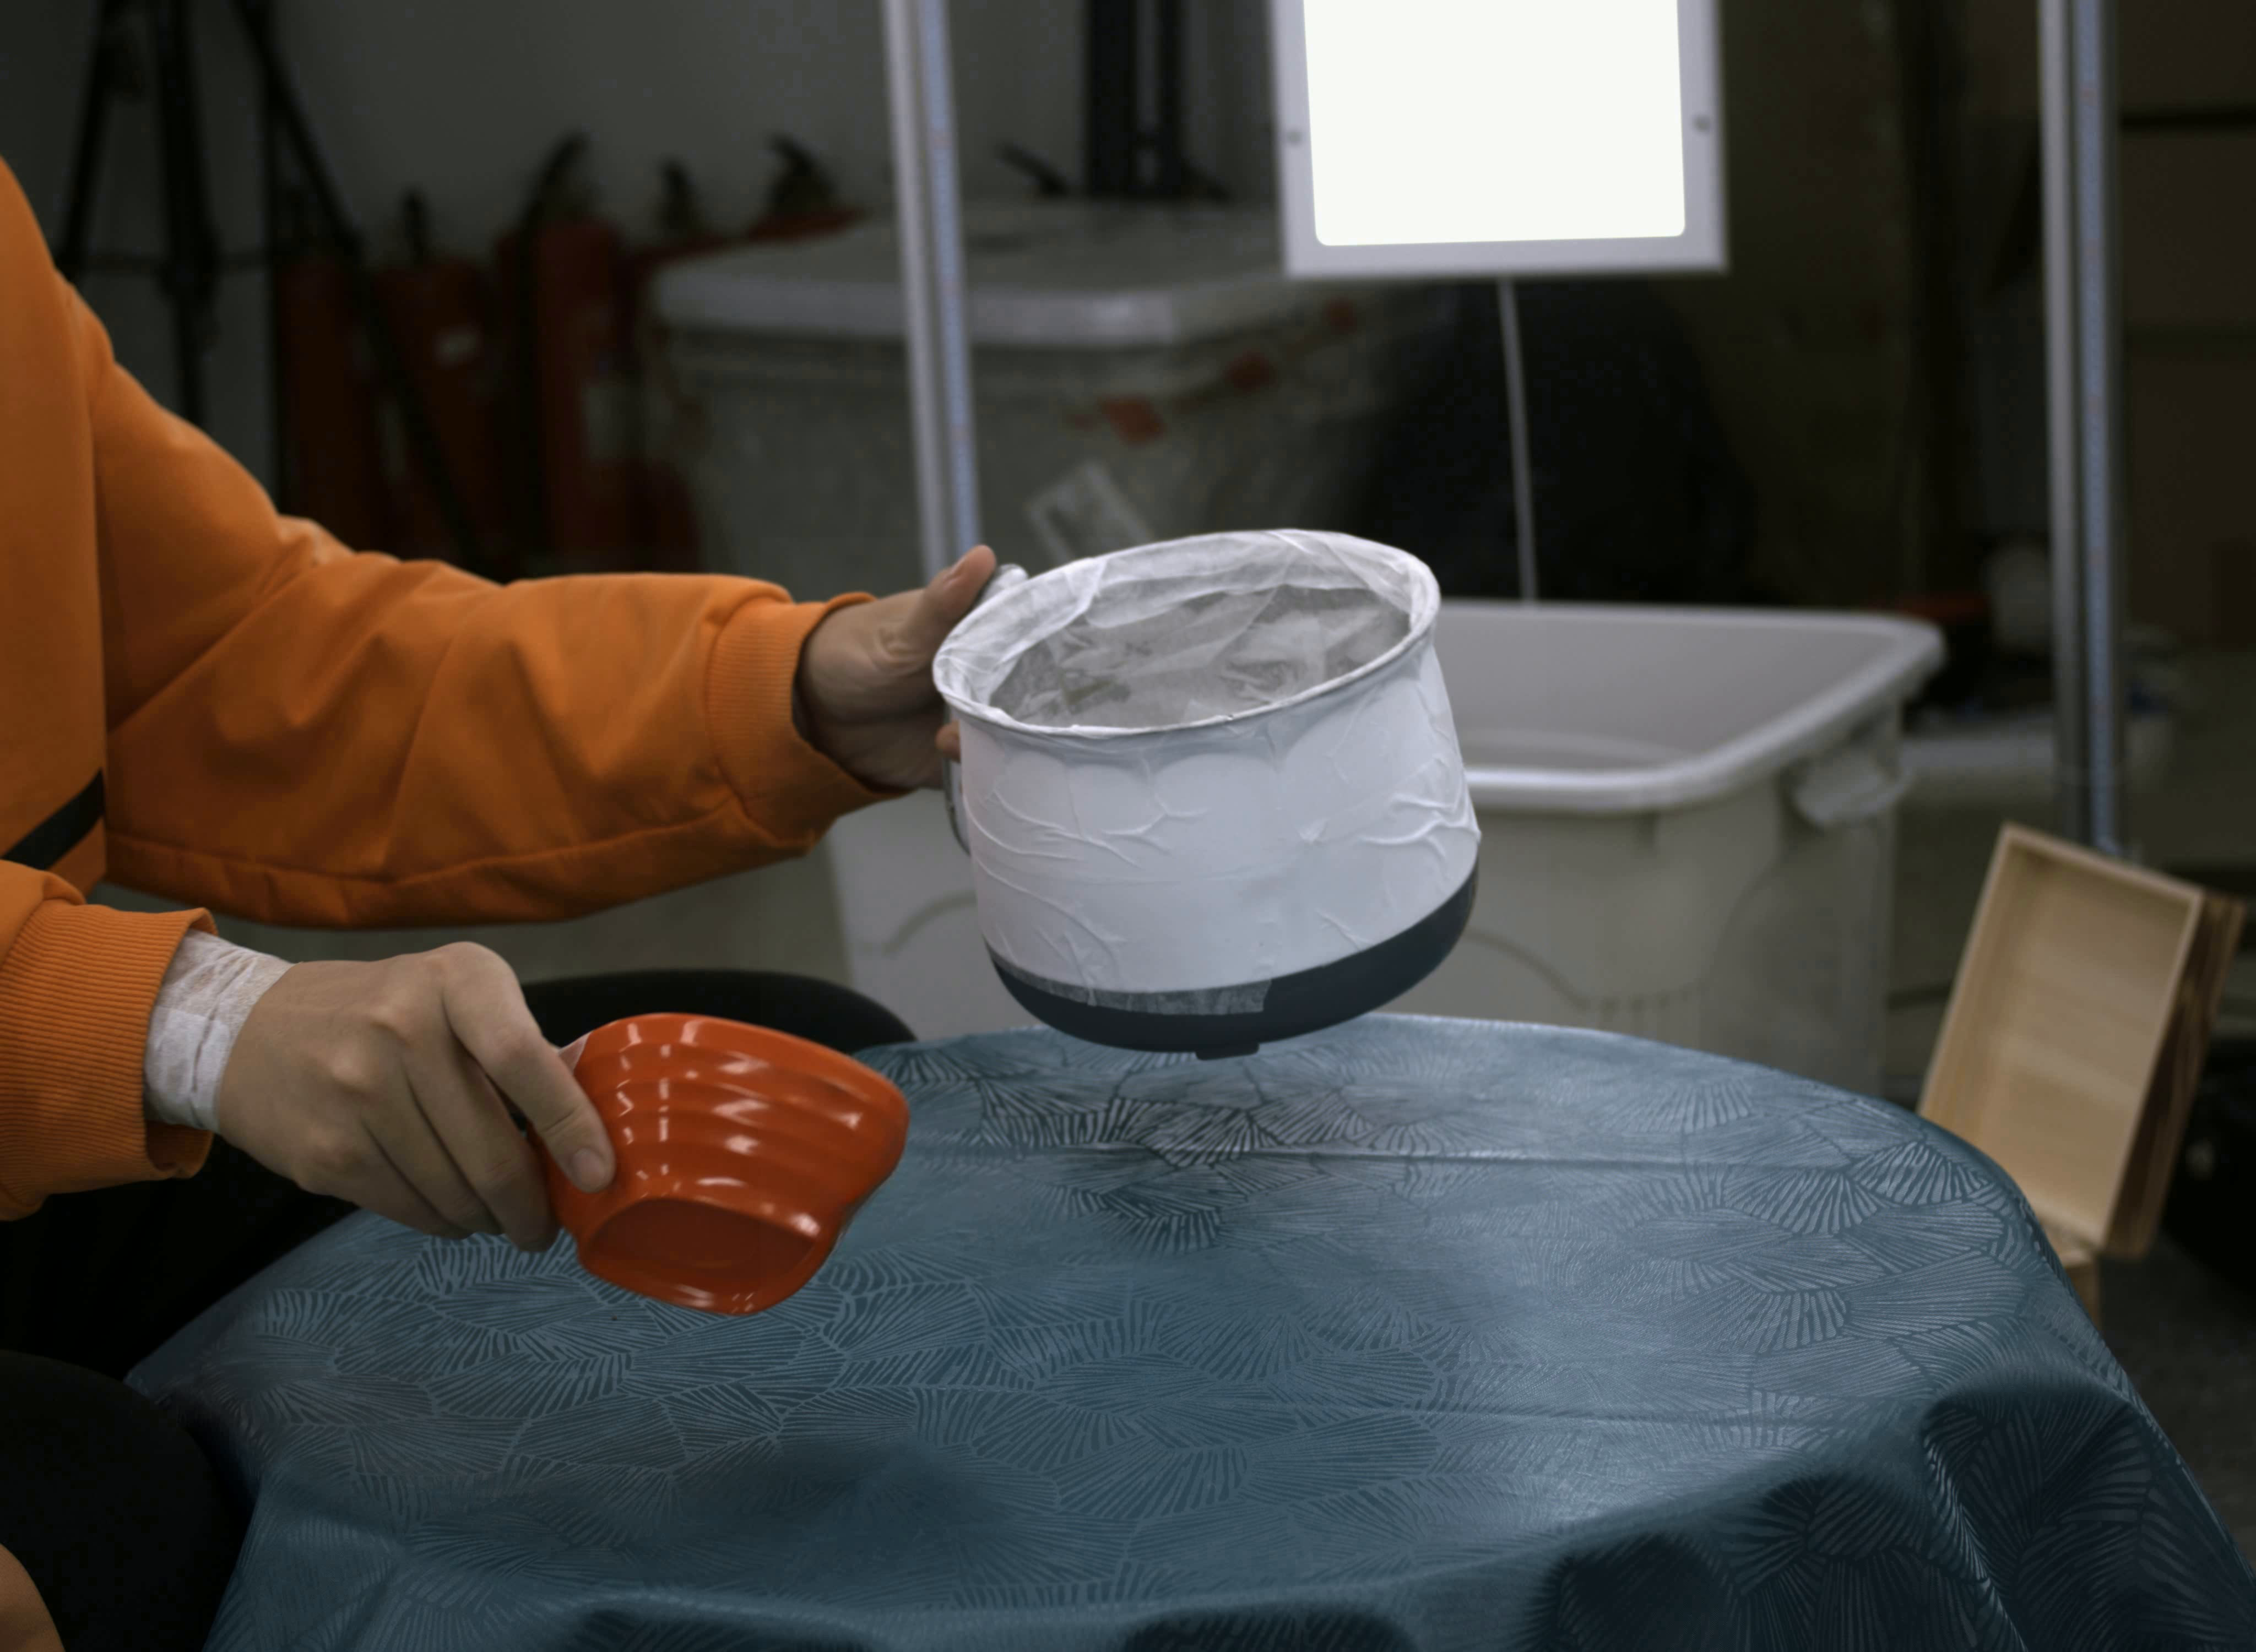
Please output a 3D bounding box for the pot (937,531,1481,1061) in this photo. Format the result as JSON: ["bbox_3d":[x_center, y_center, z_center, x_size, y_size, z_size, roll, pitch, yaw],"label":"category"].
[{"bbox_3d":[0.013,-0.016,1.930,0.174,0.137,0.238,-26,27,-33],"label":"pot"}]

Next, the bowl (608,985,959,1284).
[{"bbox_3d":[-0.110,0.097,1.648,0.119,0.051,0.119,18,-23,6],"label":"bowl"}]
